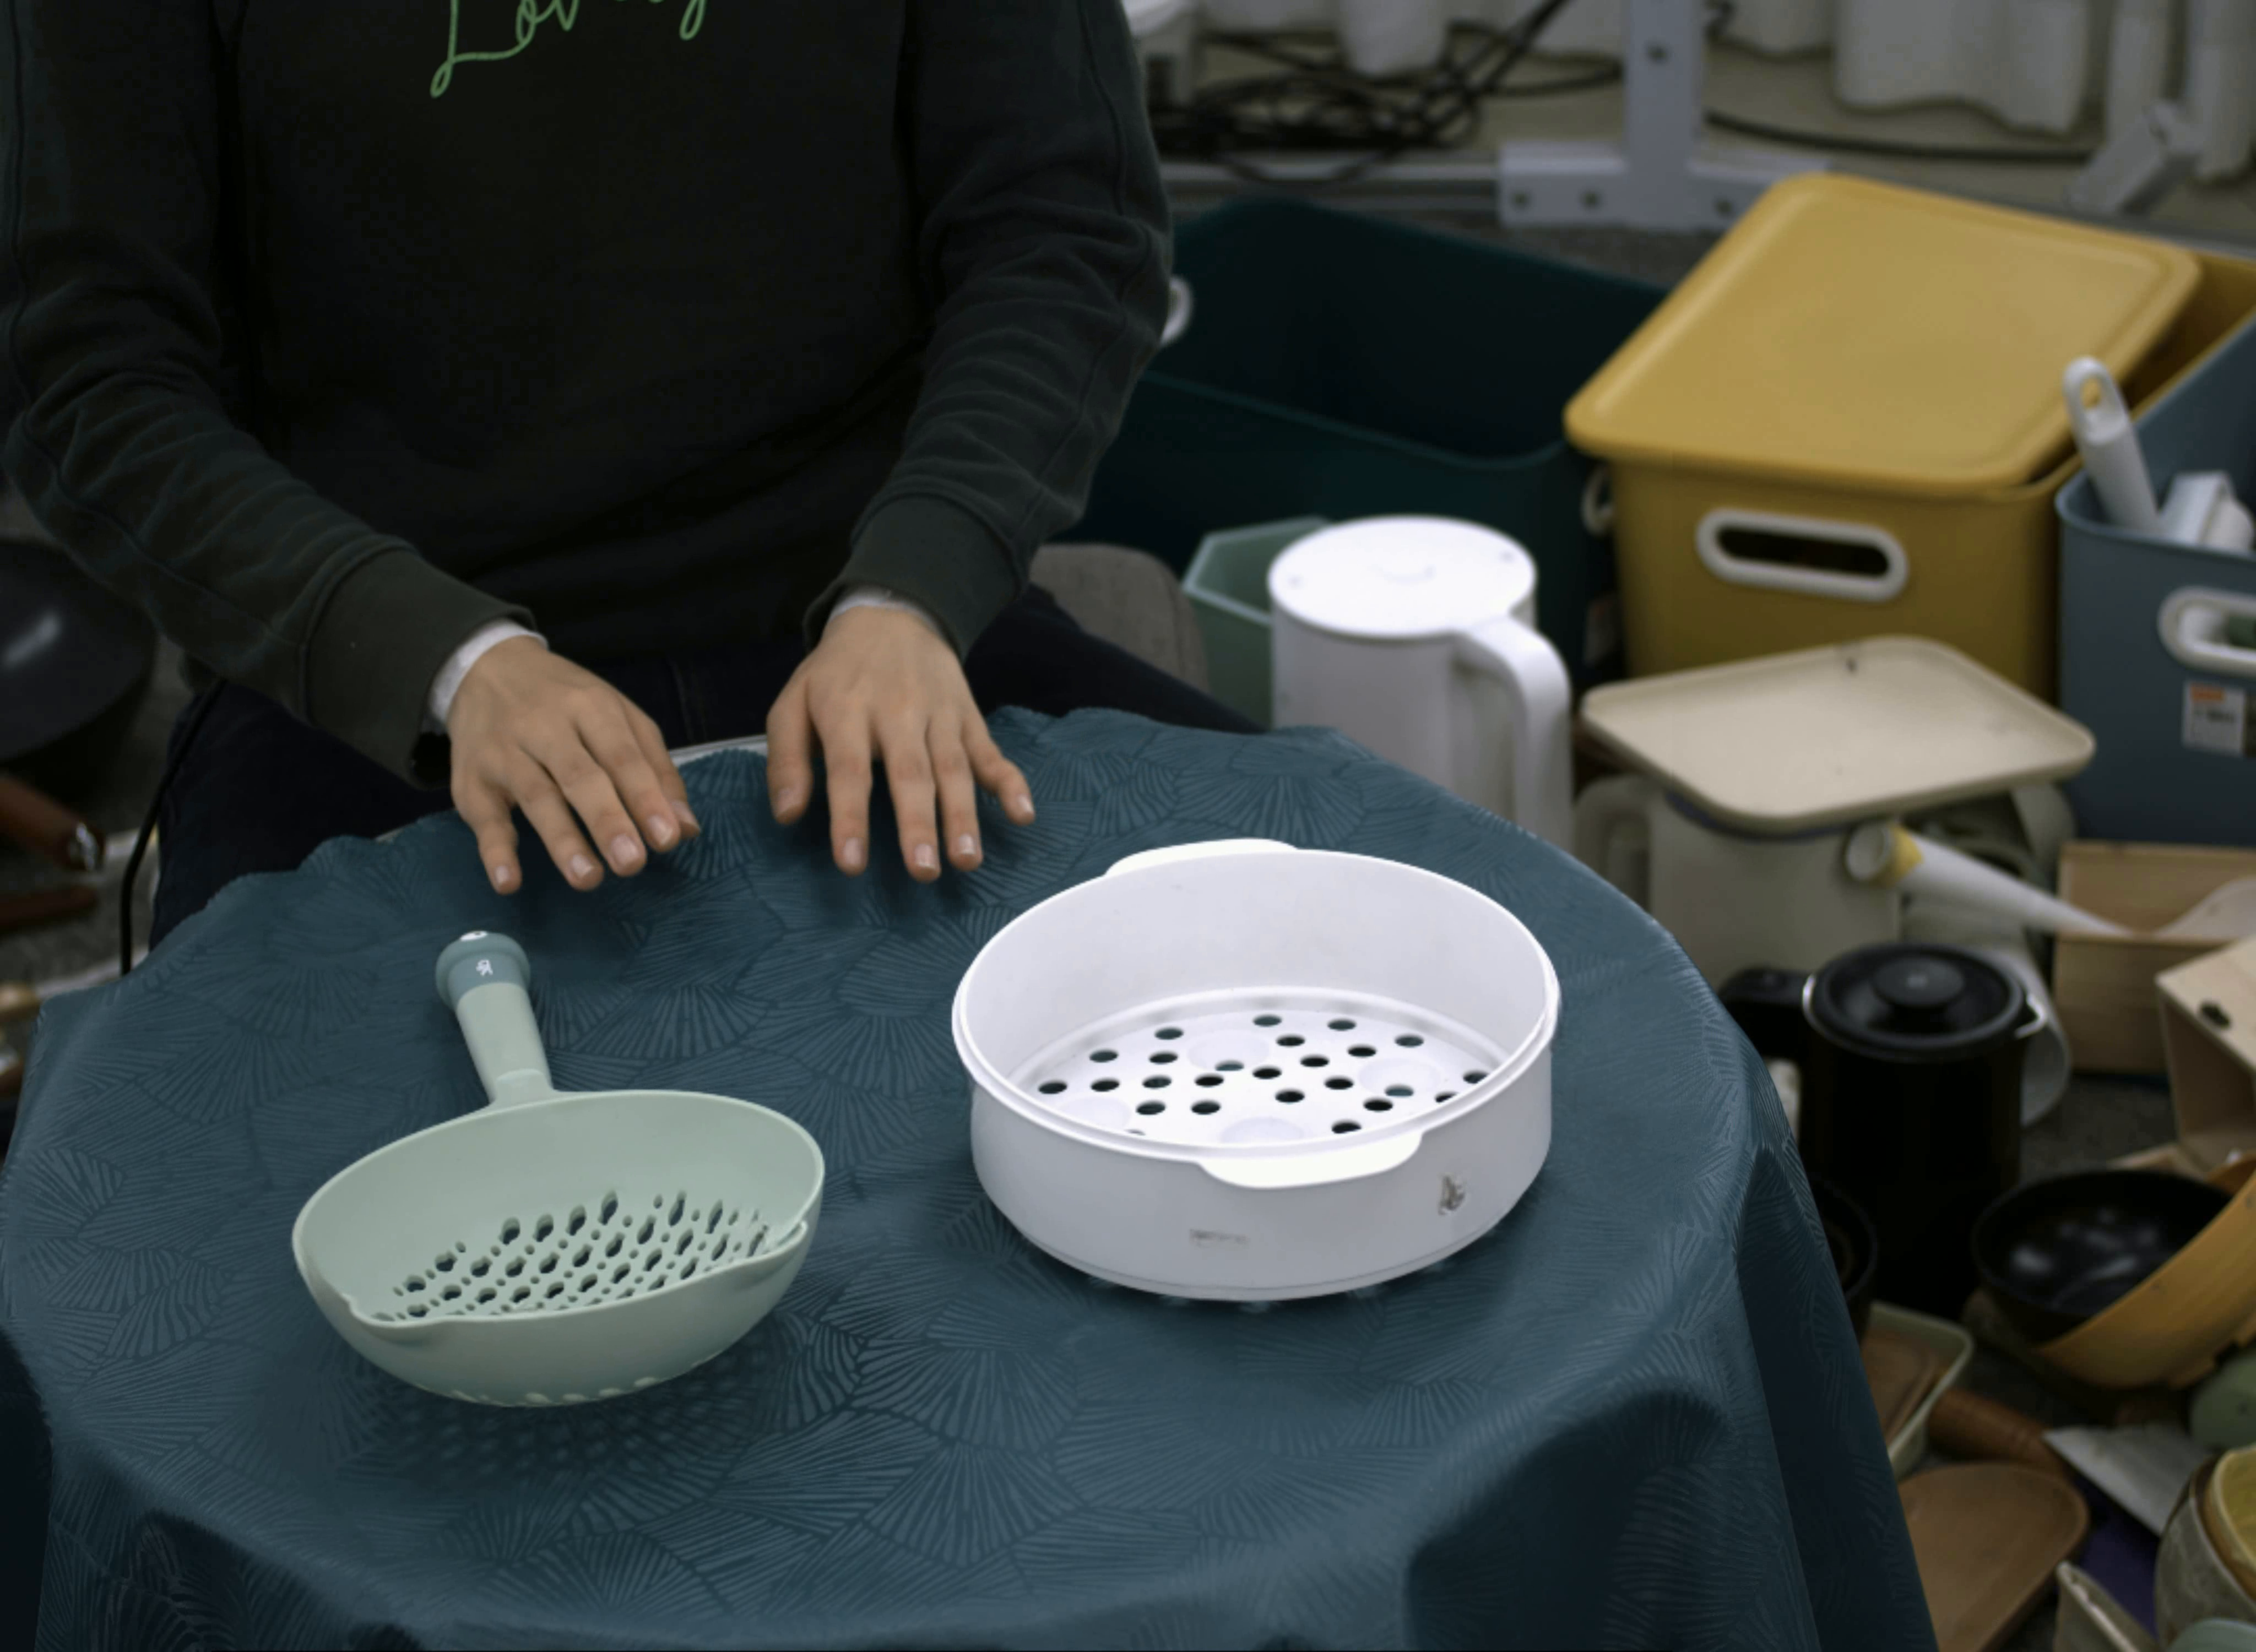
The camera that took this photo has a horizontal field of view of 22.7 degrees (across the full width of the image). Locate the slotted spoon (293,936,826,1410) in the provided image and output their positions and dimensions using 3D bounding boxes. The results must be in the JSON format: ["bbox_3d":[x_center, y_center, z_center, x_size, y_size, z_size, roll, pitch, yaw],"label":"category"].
[{"bbox_3d":[-0.197,0.099,1.856,0.169,0.074,0.363,-9,28,-10],"label":"slotted spoon"}]

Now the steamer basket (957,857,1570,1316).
[{"bbox_3d":[0.045,0.087,1.855,0.201,0.068,0.233,-6,27,-9],"label":"steamer basket"}]
